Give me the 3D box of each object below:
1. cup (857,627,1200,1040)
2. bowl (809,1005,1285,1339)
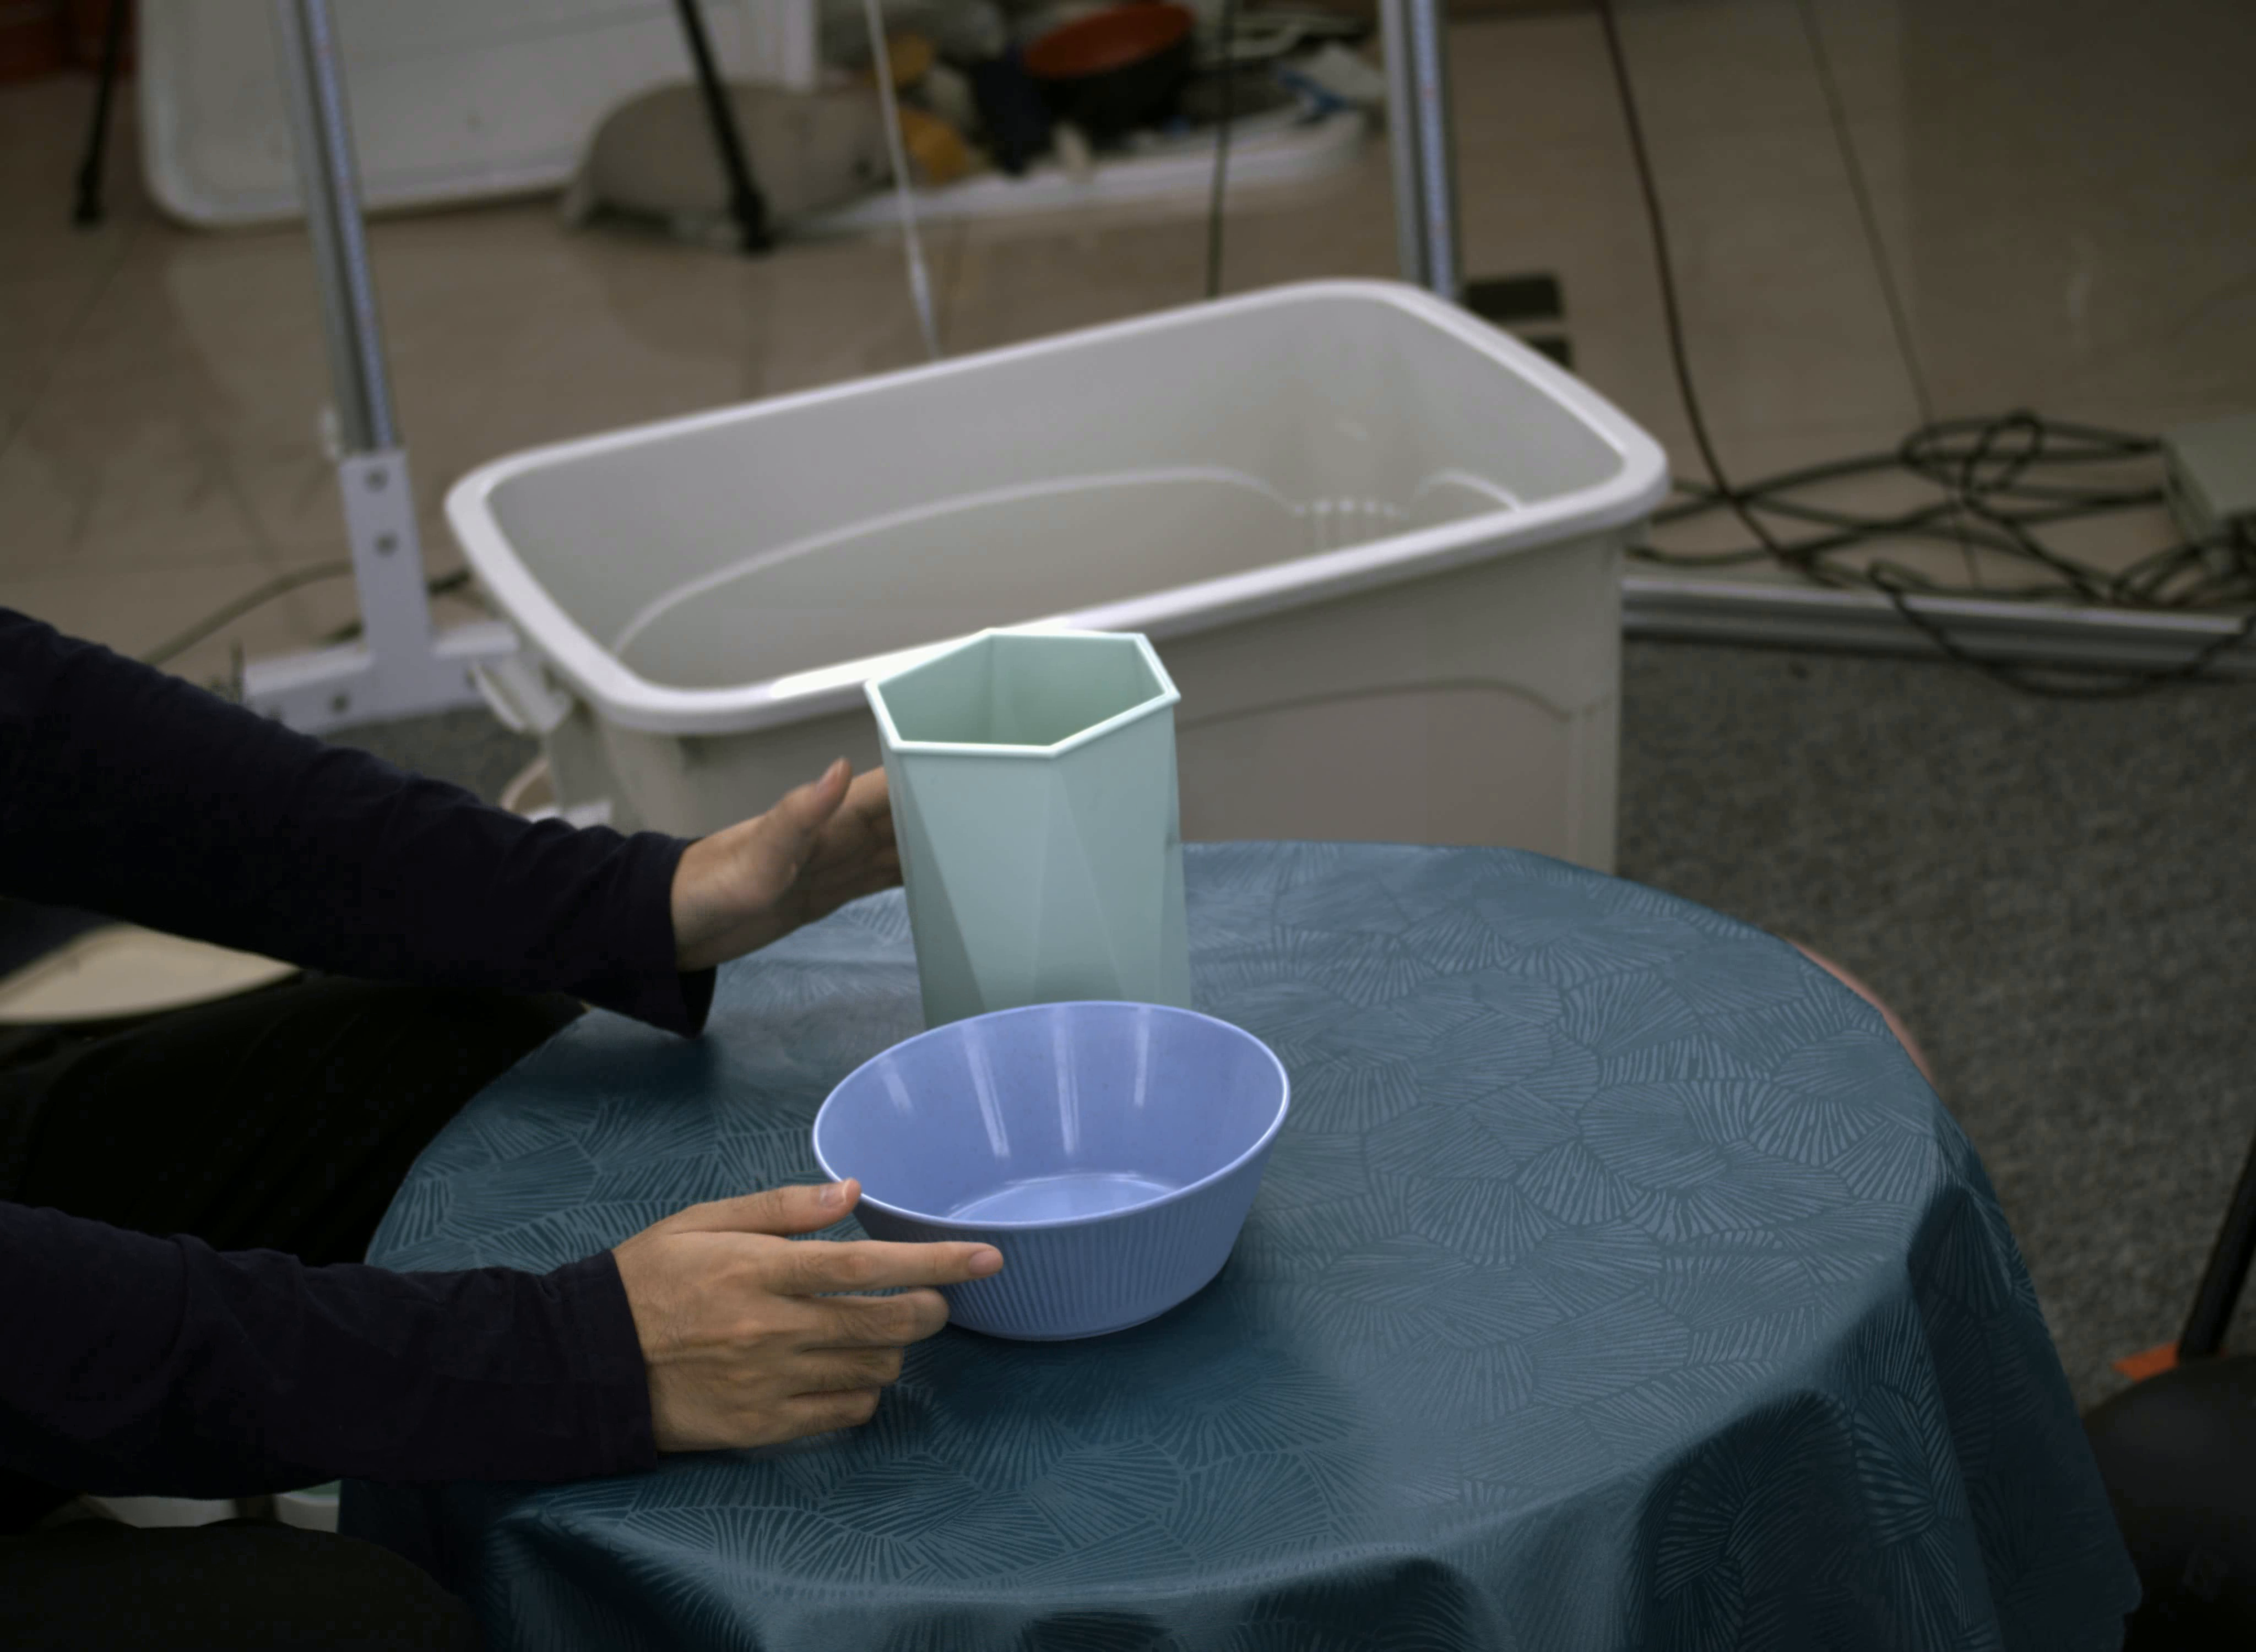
[{"bbox_3d":[-0.032,0.018,2.221,0.115,0.165,0.129,-14,25,-10],"label":"cup"},{"bbox_3d":[-0.026,0.133,2.083,0.176,0.071,0.173,-6,25,3],"label":"bowl"}]
